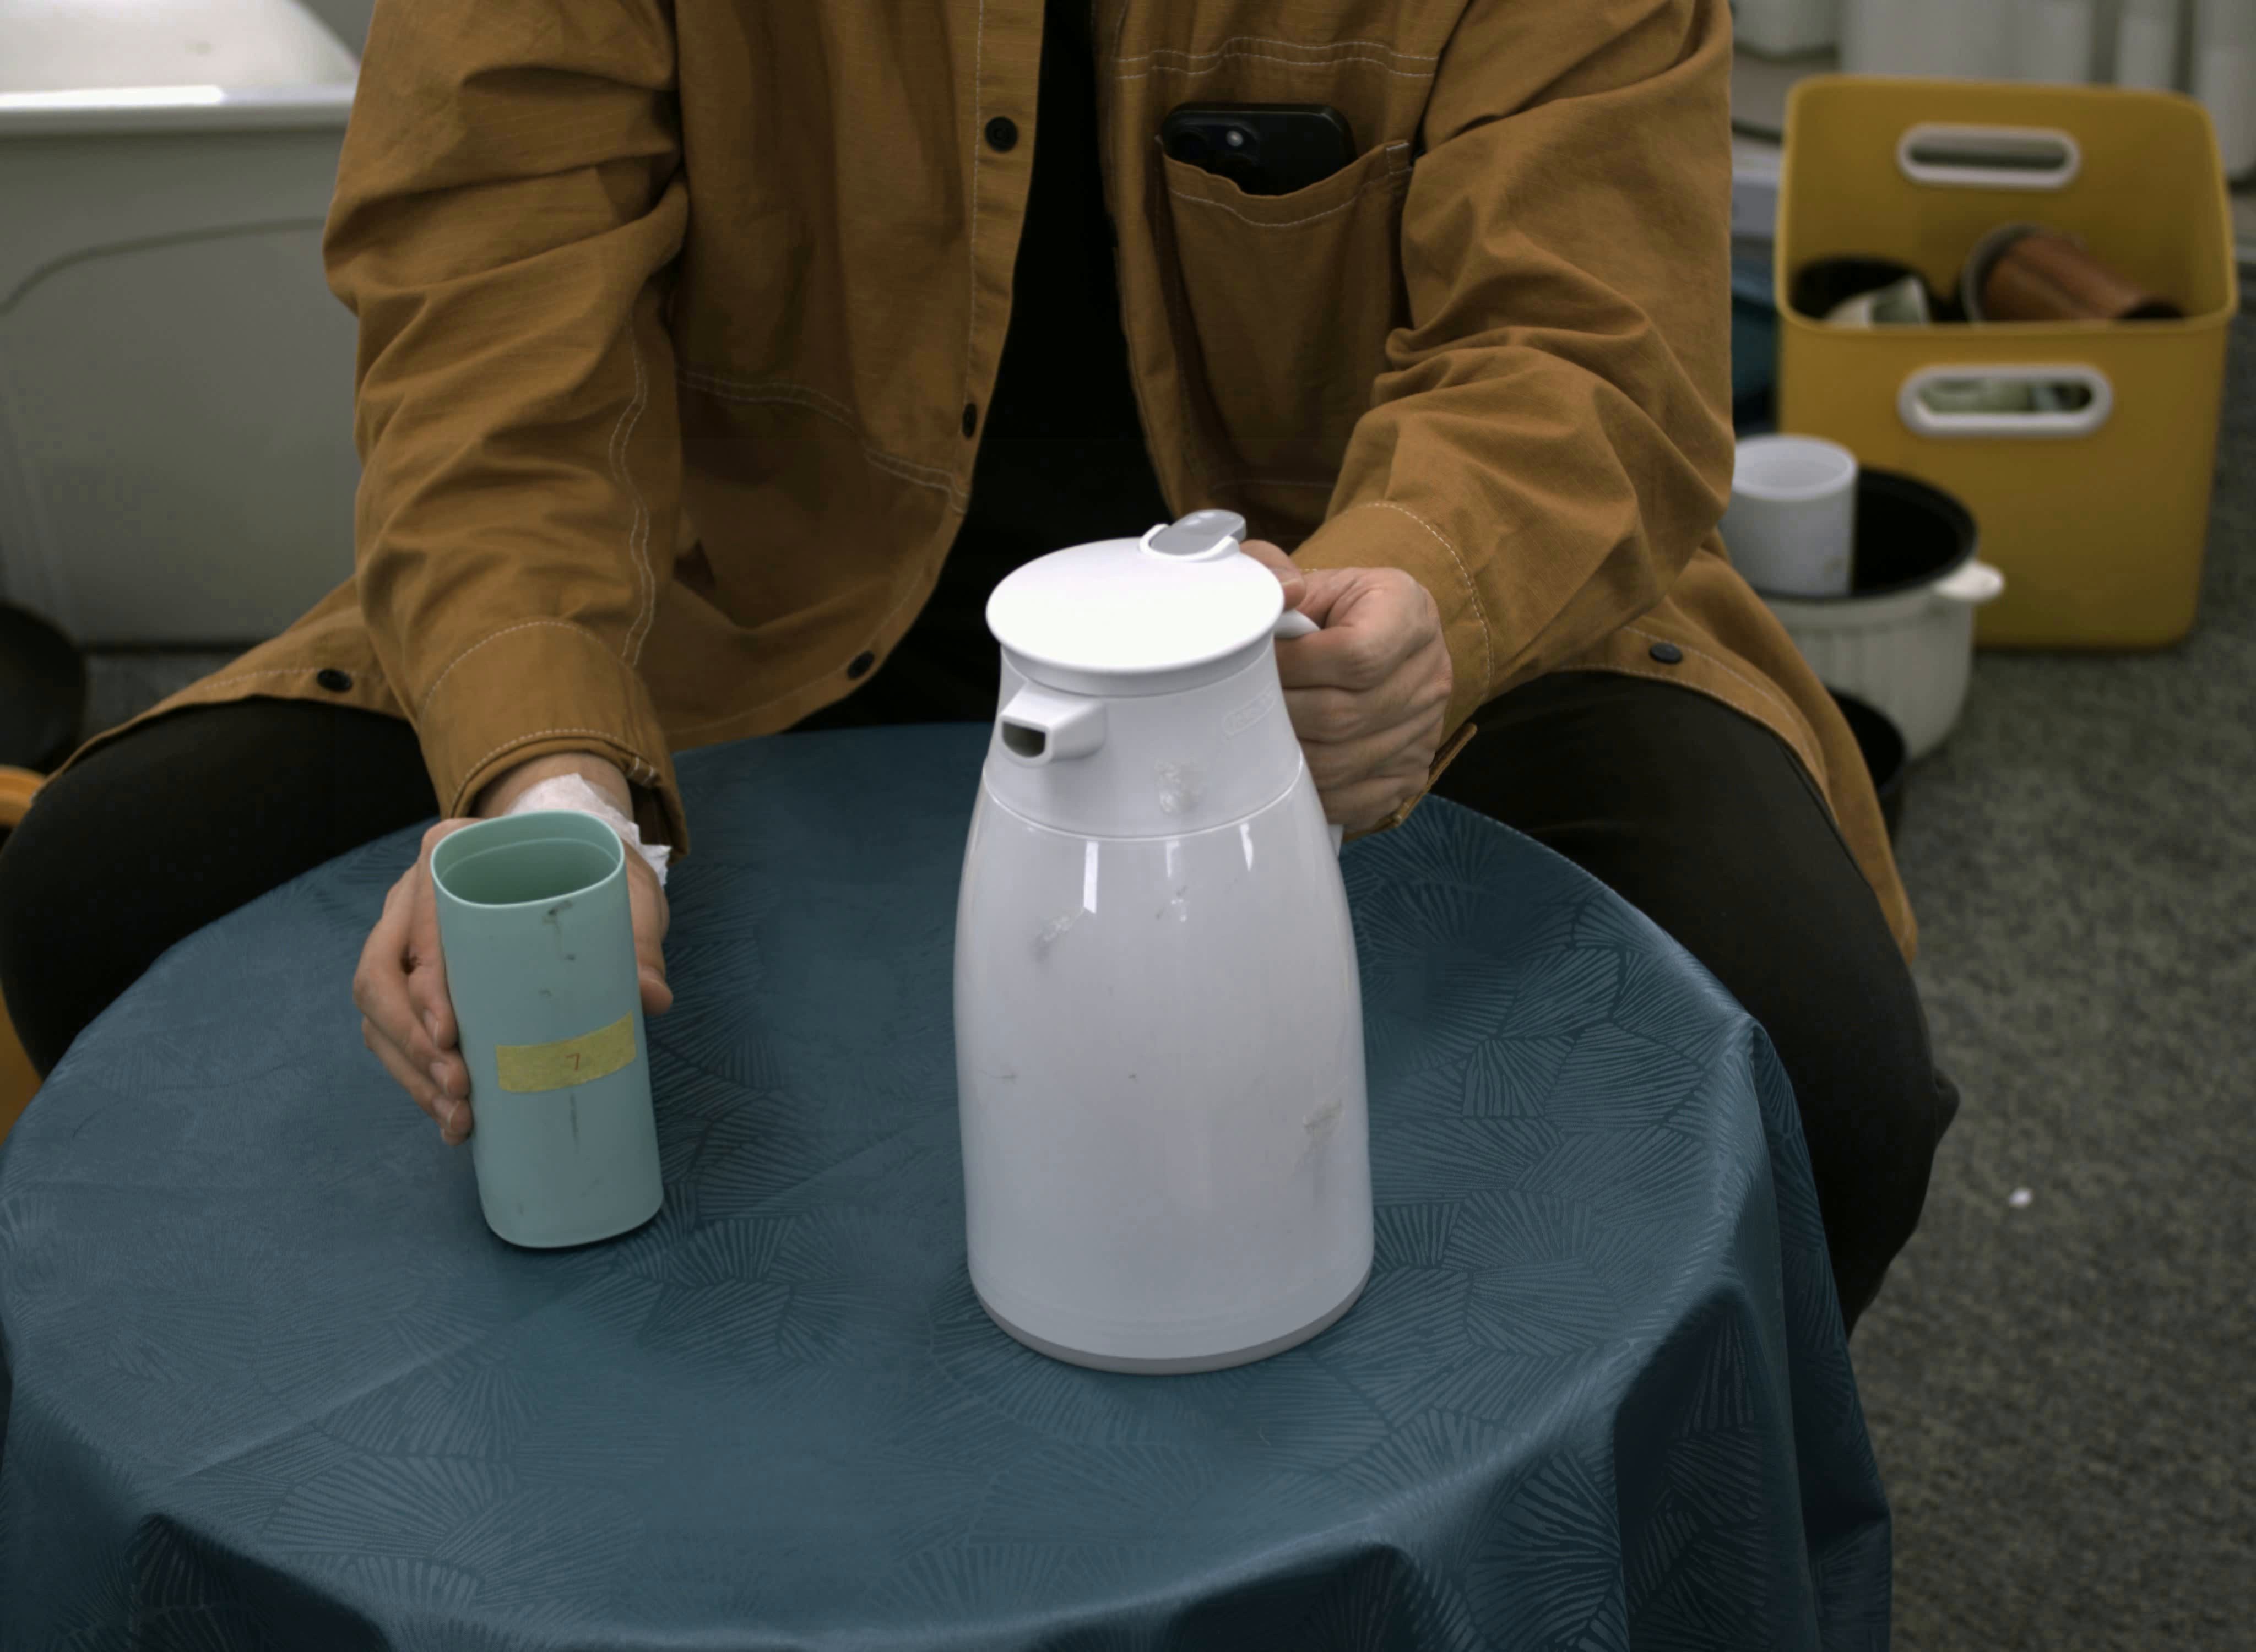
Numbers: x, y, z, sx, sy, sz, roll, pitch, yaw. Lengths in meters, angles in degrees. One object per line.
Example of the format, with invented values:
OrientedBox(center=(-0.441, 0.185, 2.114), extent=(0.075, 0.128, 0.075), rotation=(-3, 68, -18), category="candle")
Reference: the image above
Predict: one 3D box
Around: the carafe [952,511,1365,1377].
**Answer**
OrientedBox(center=(0.018, 0.026, 1.779), extent=(0.132, 0.246, 0.170), rotation=(15, 31, 30), category="carafe")

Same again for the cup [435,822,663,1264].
OrientedBox(center=(-0.189, 0.071, 1.838), extent=(0.066, 0.131, 0.068), rotation=(-3, 26, 2), category="cup")
